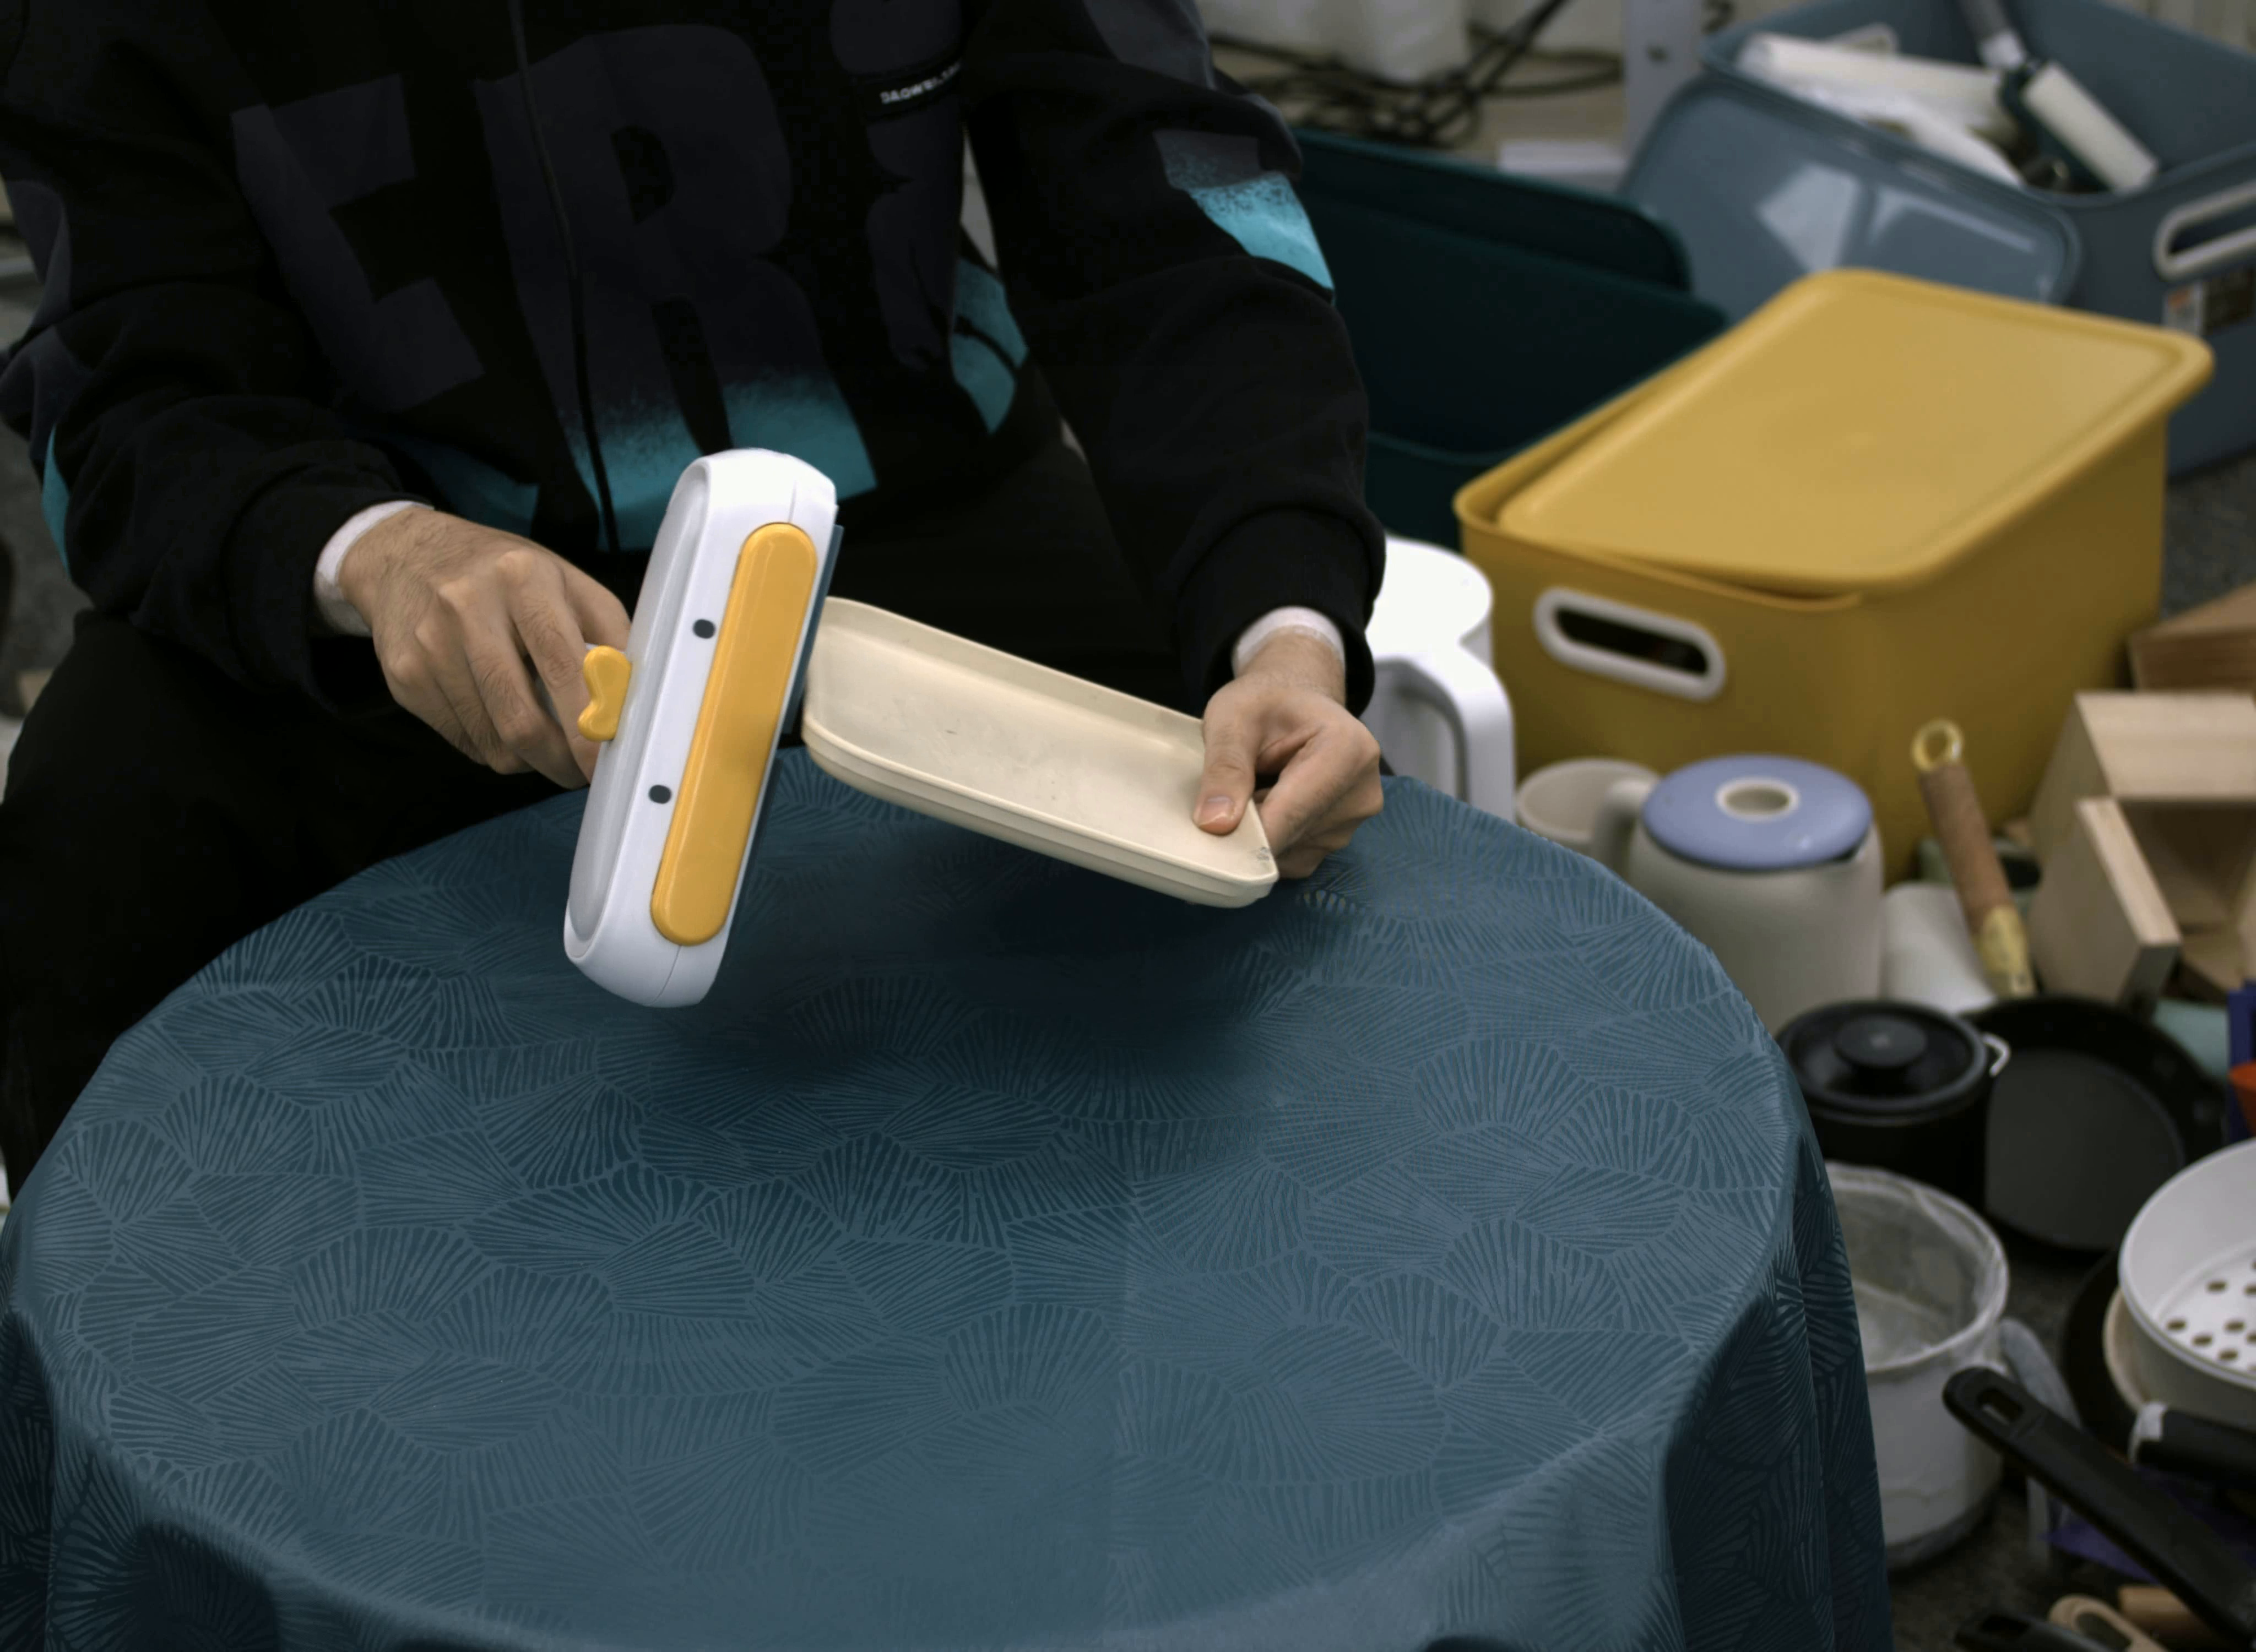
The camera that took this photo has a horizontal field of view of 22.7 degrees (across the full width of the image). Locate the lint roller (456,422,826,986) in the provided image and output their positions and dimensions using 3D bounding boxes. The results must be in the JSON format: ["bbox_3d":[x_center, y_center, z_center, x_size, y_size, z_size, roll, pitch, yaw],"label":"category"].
[{"bbox_3d":[-0.176,-0.044,1.954,0.074,0.194,0.191,10,-4,-26],"label":"lint roller"}]

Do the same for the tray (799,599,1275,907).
[{"bbox_3d":[-0.037,-0.026,1.976,0.170,0.017,0.241,19,12,-7],"label":"tray"}]
